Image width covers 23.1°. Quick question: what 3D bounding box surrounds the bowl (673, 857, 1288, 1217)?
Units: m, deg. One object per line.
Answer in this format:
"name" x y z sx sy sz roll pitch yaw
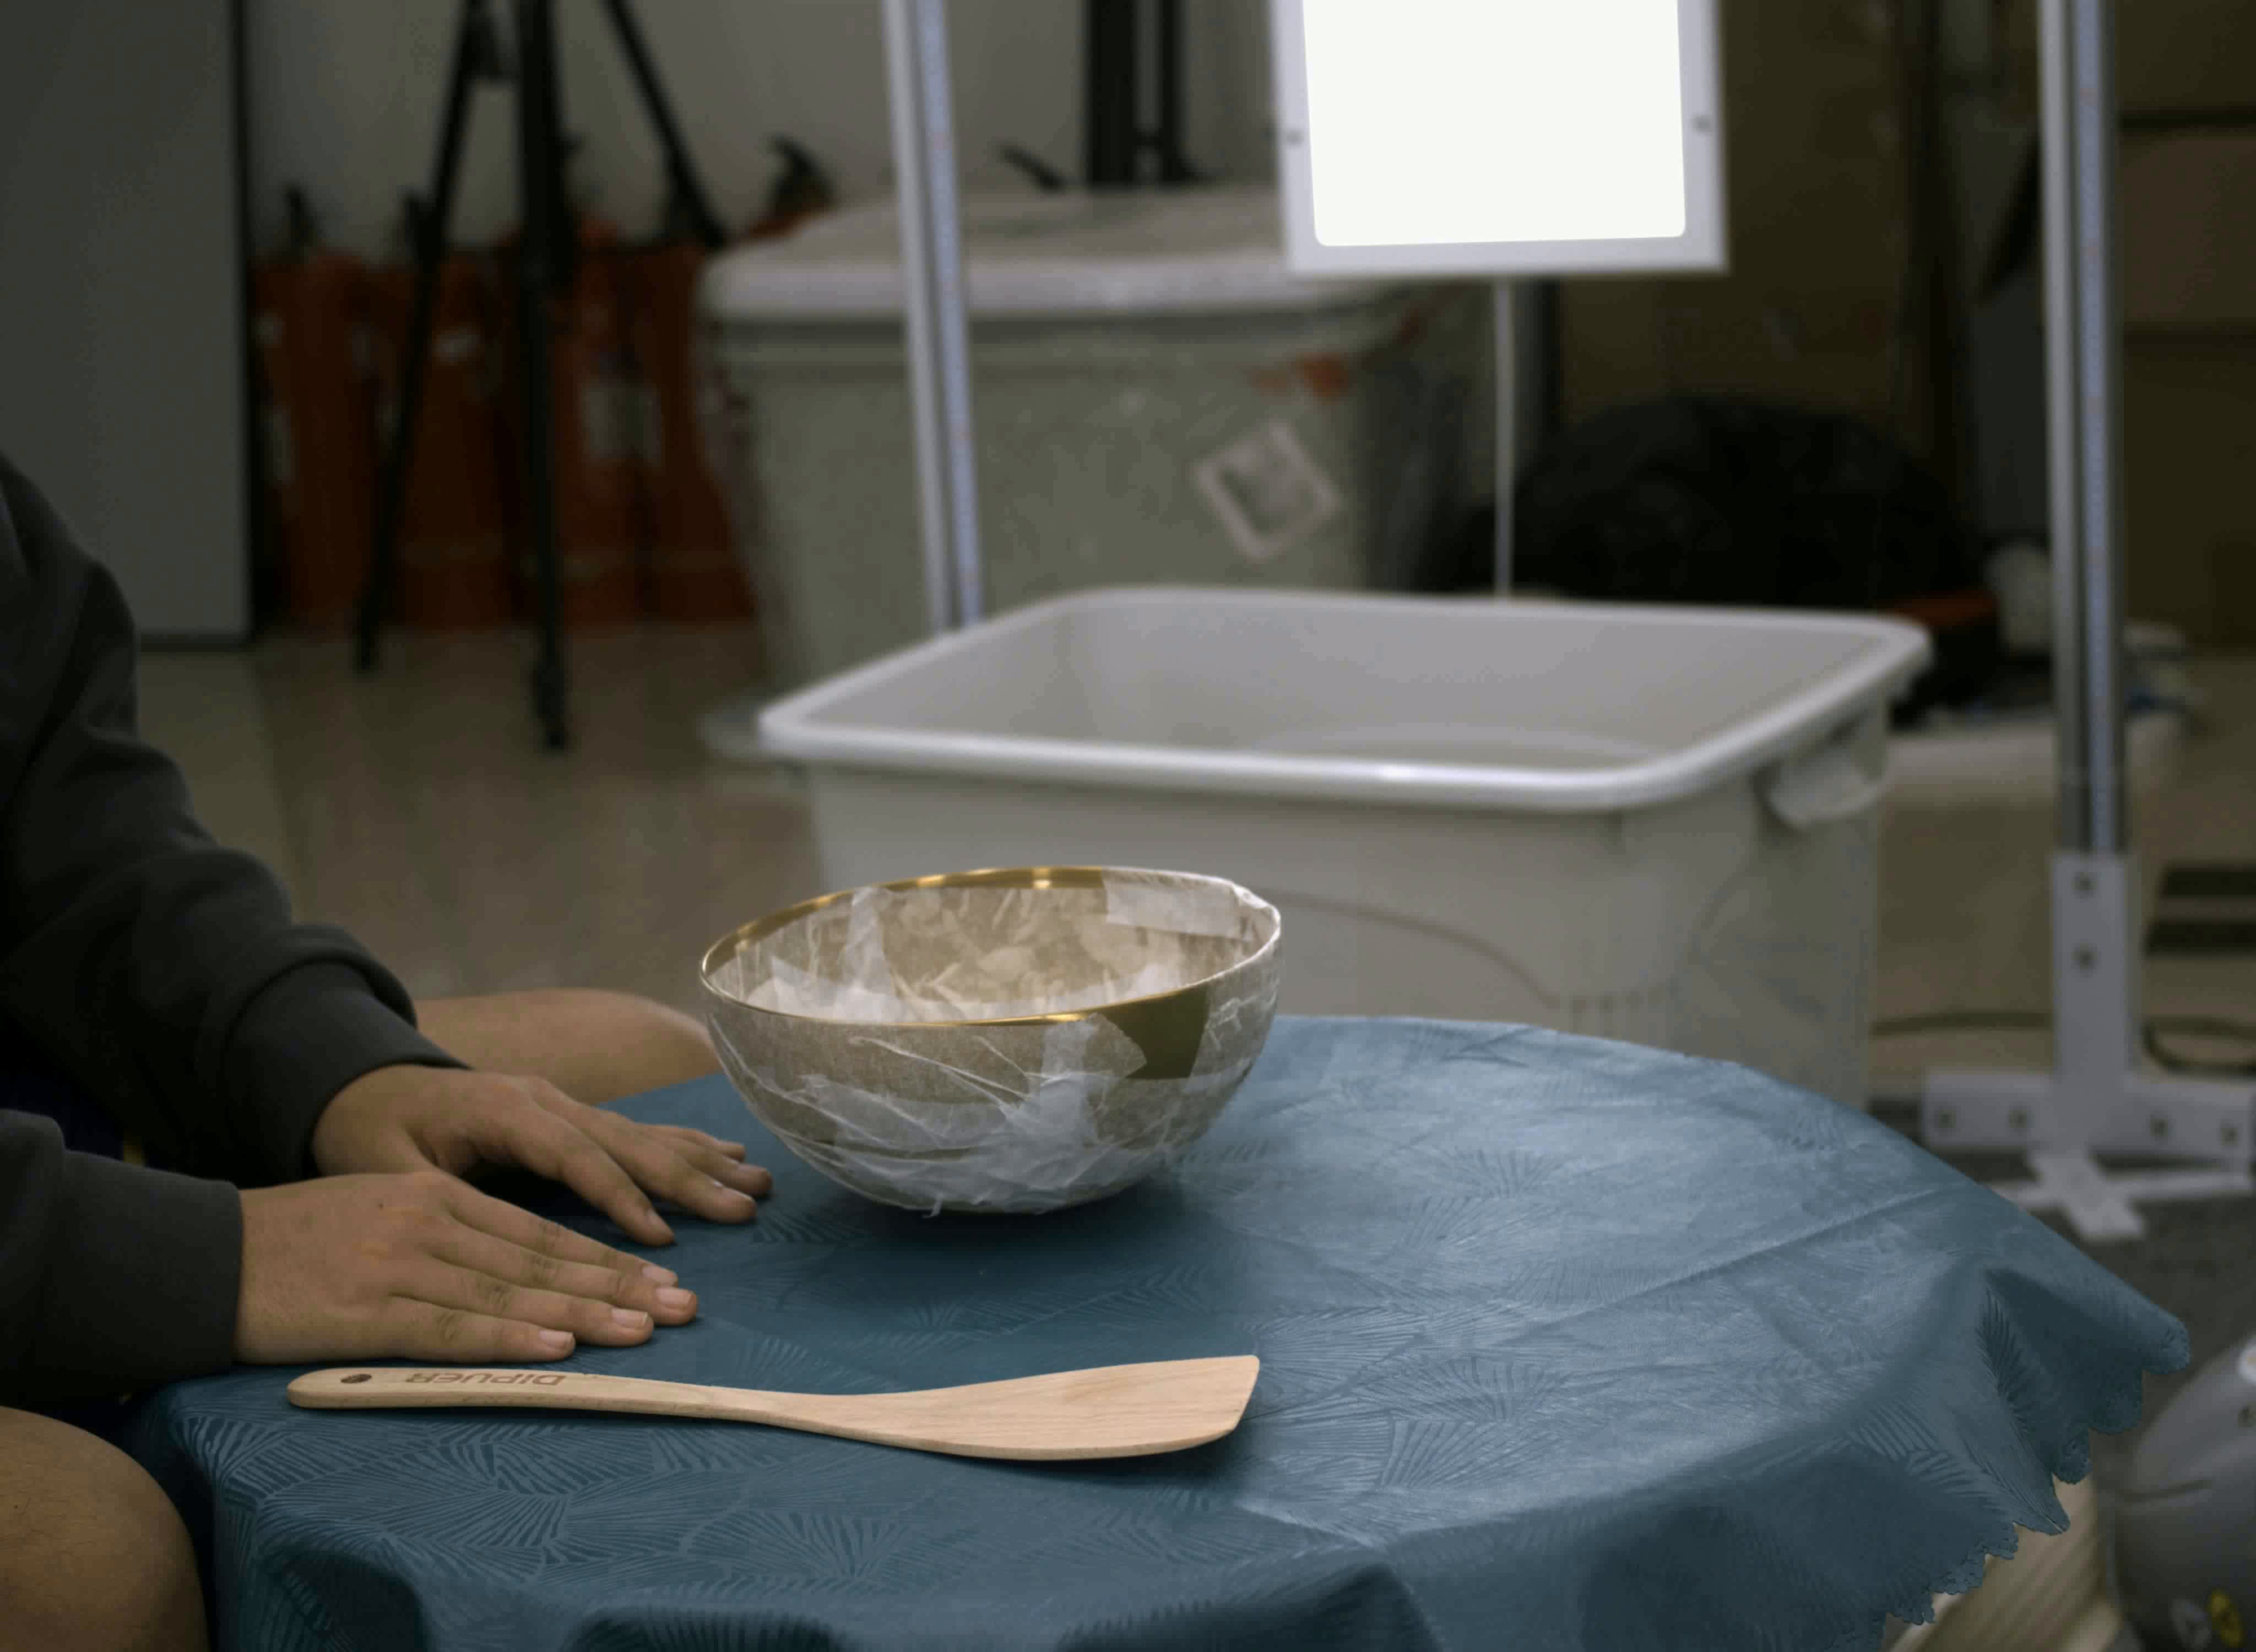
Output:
"bowl" -0.048 0.080 1.902 0.214 0.095 0.214 -4 14 0

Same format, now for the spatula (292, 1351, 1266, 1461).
"spatula" -0.111 0.175 1.705 0.332 0.016 0.078 0 15 22
